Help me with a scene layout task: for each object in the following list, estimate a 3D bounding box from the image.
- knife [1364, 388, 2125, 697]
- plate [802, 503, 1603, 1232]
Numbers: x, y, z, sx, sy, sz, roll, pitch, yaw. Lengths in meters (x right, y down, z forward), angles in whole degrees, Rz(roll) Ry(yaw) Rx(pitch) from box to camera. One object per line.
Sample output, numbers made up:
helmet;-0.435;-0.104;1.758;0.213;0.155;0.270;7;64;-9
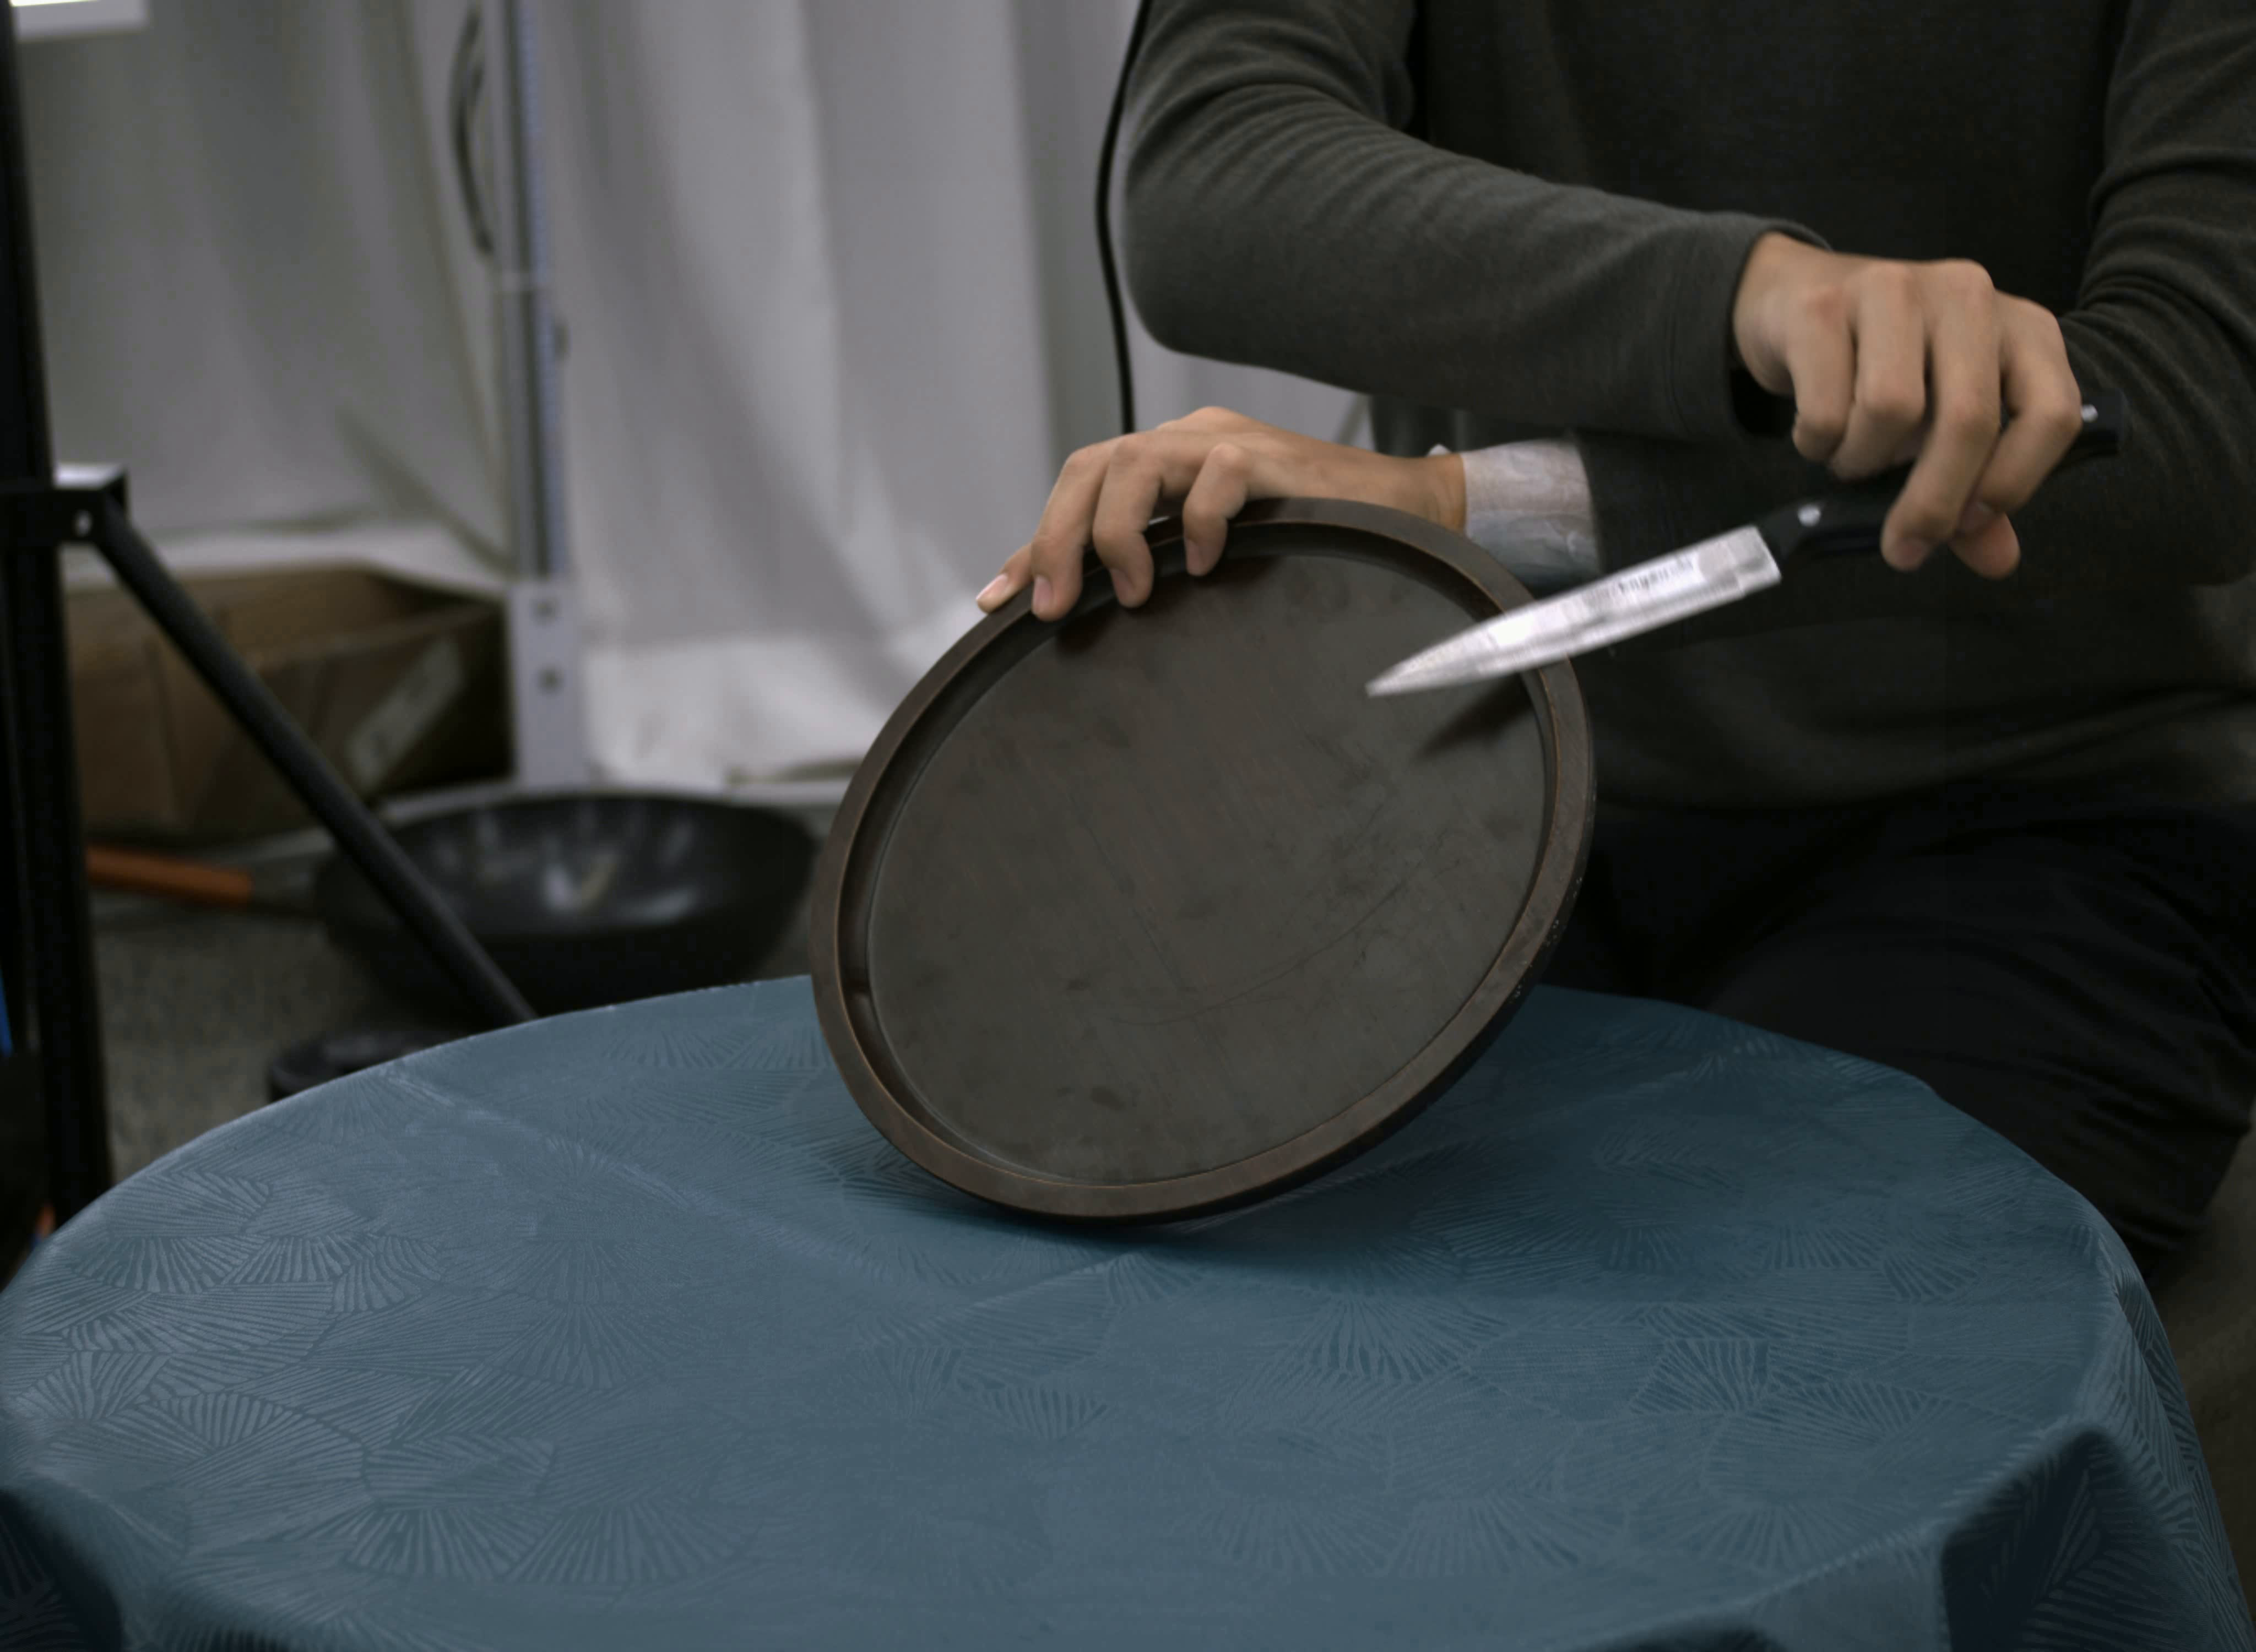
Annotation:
knife;0.180;-0.081;1.565;0.237;0.016;0.025;-20;56;3
plate;0.023;0.011;1.587;0.257;0.028;0.258;-15;52;18
